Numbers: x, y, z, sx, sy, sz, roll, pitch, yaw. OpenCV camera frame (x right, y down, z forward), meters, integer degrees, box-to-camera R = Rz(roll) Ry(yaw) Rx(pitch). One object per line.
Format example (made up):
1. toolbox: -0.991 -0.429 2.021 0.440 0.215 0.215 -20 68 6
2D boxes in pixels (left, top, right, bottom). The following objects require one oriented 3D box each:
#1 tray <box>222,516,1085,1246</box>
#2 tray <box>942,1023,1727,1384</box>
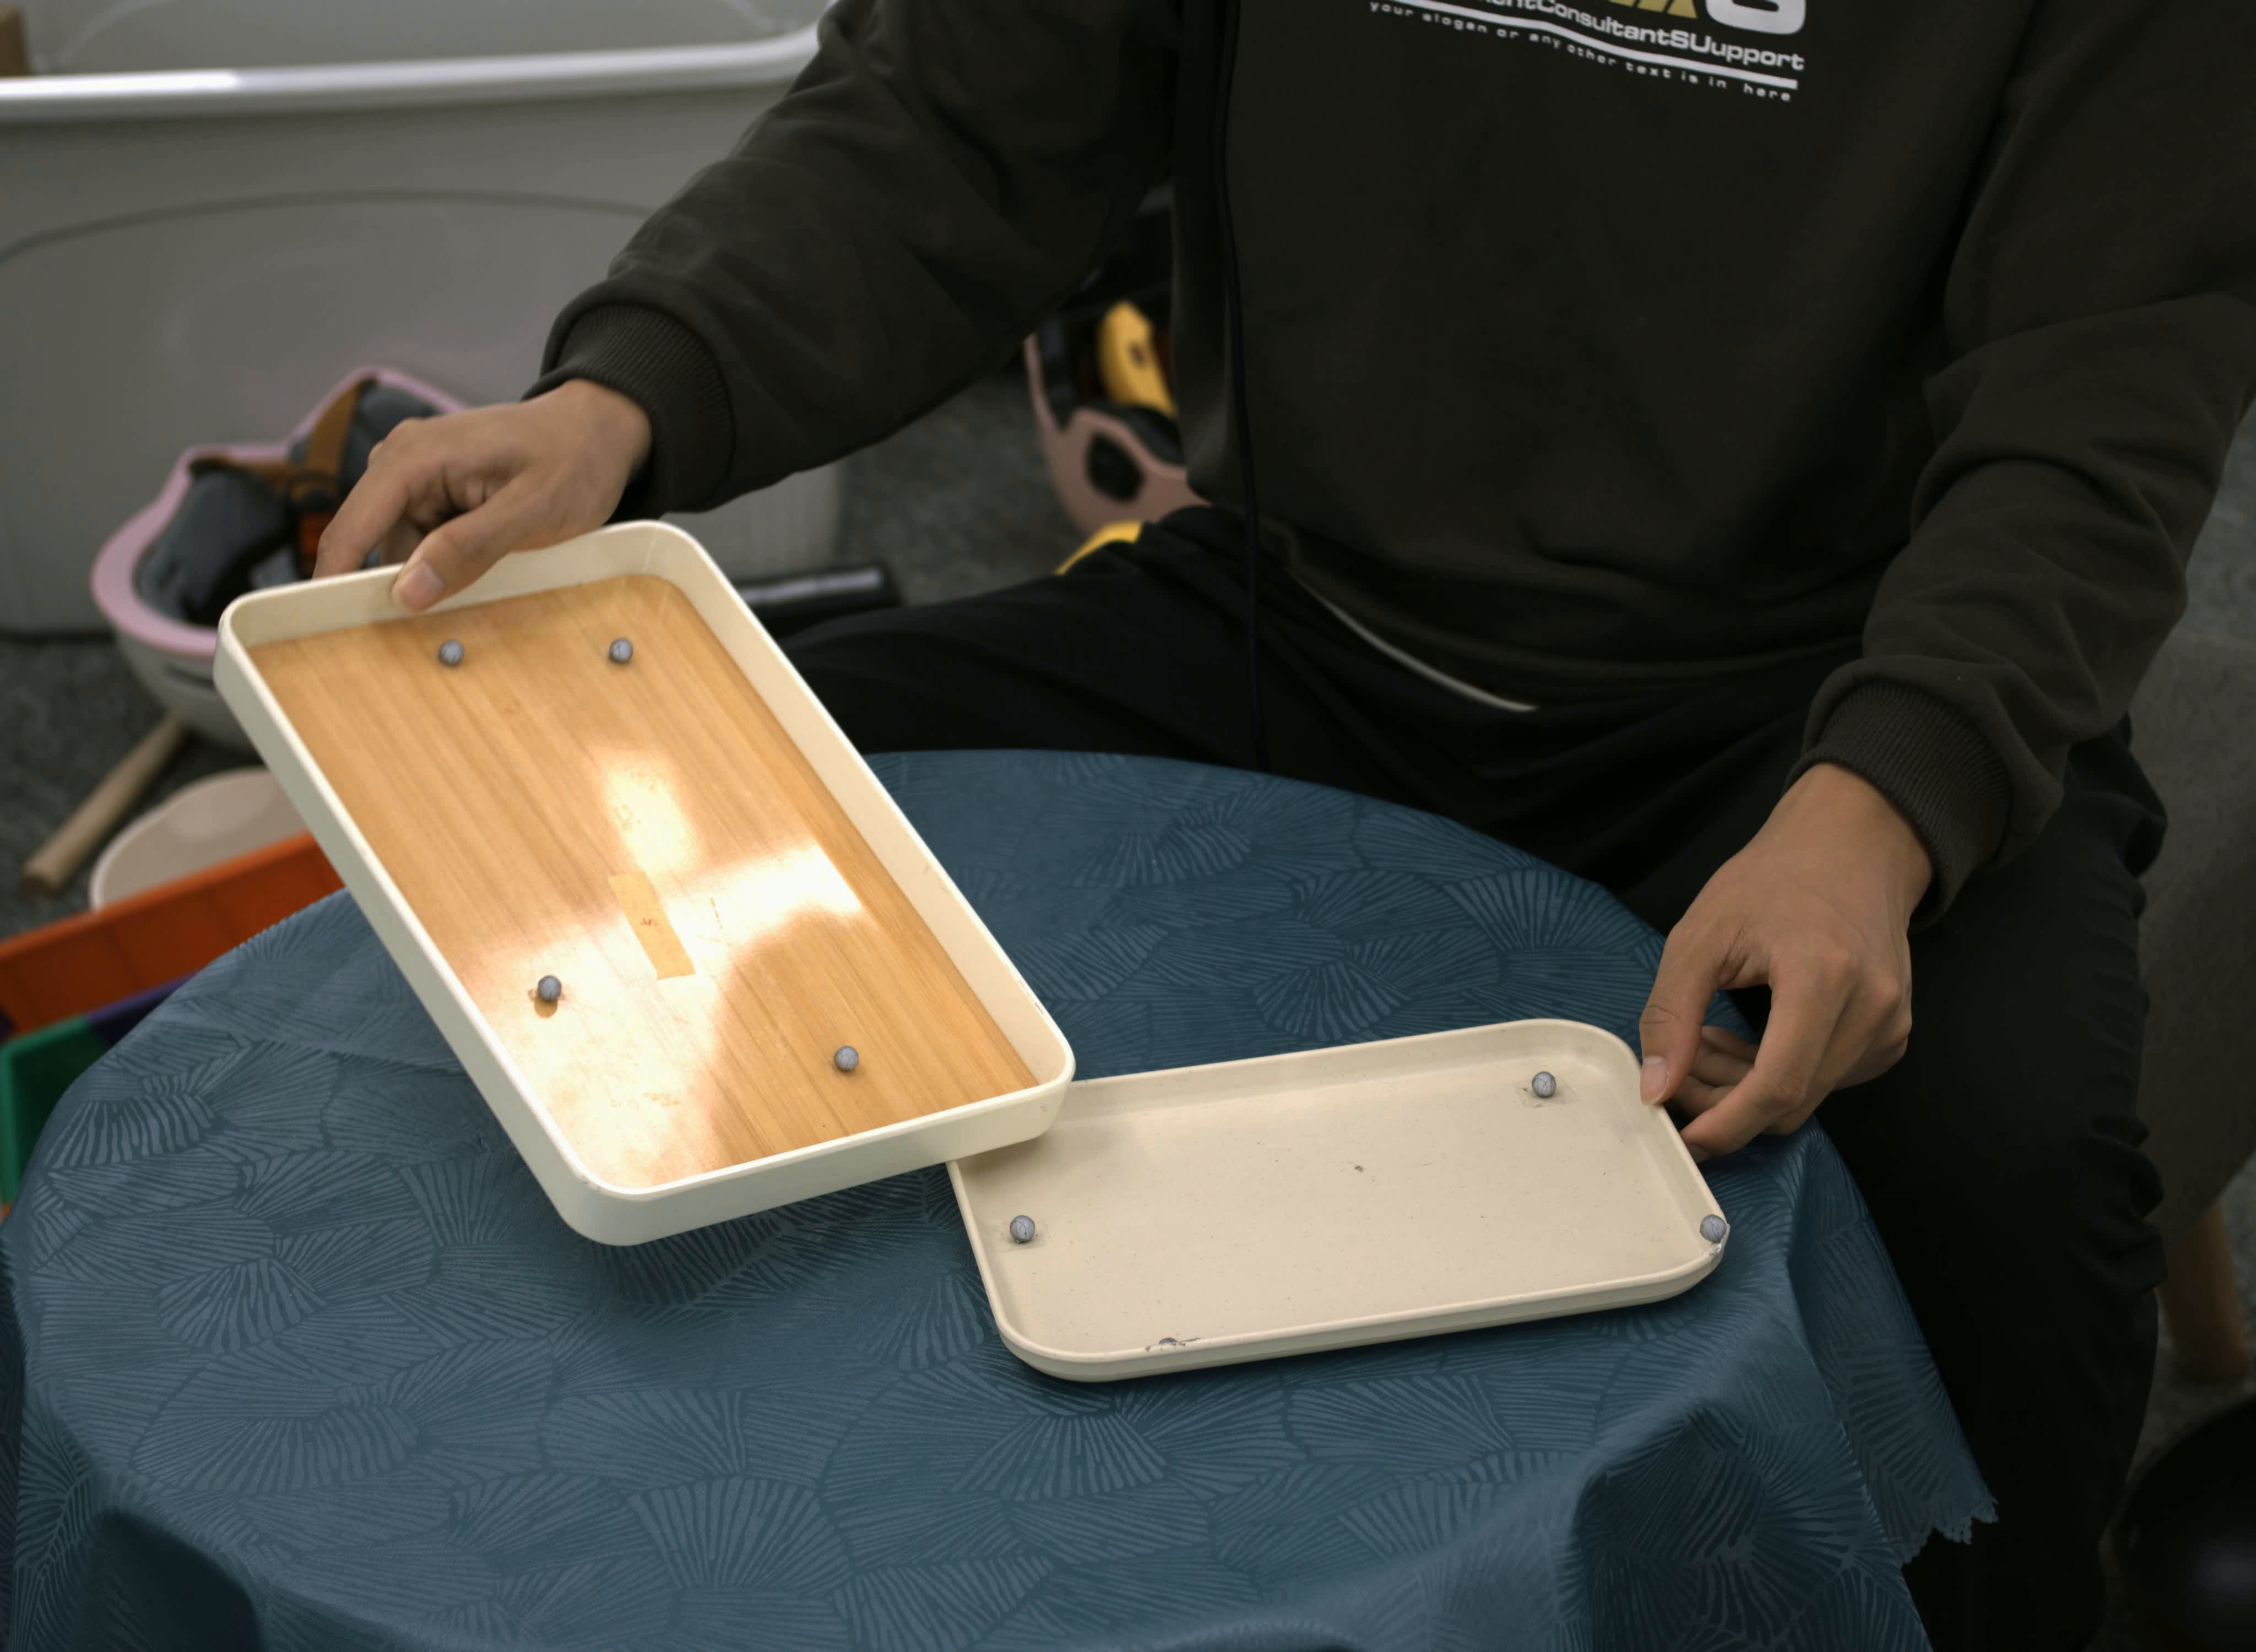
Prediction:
1. tray: -0.164 0.012 1.905 0.193 0.027 0.303 -12 49 -33
2. tray: 0.065 0.124 1.838 0.239 0.017 0.173 -7 27 -9
